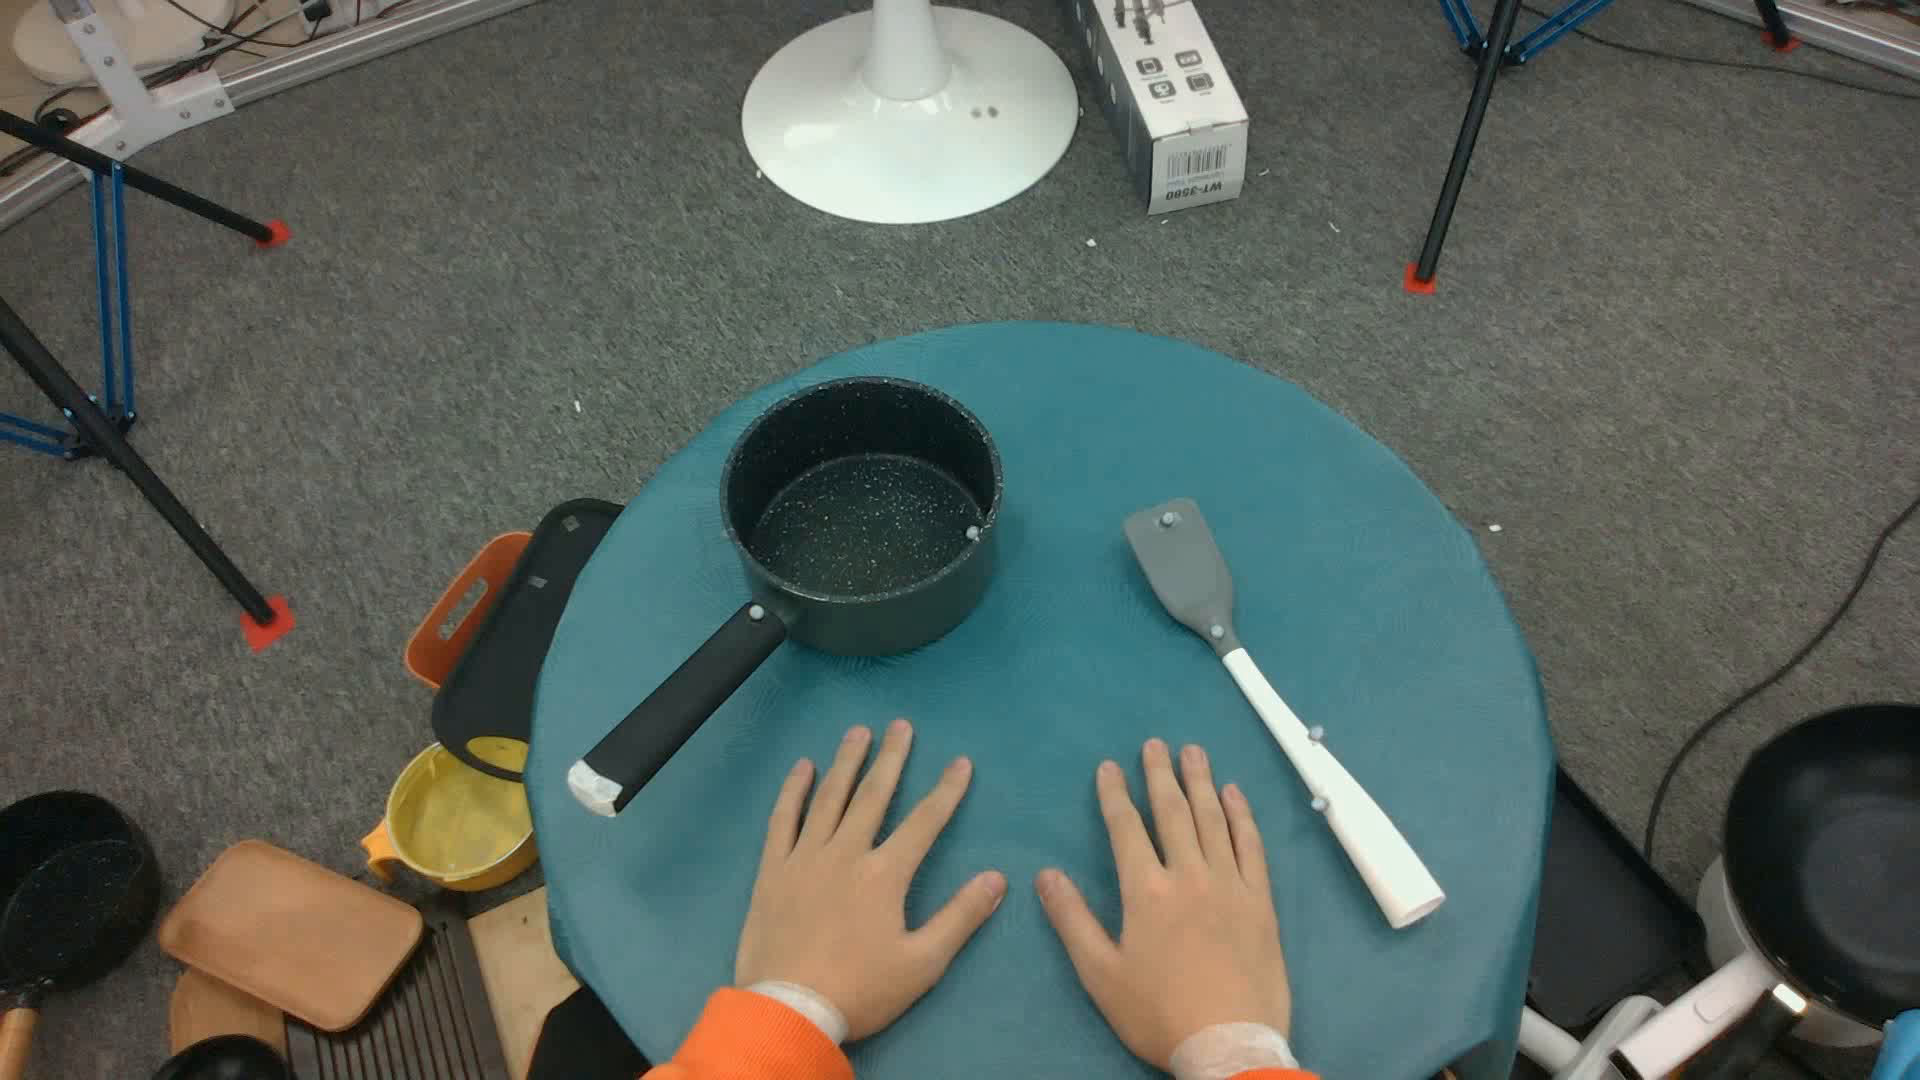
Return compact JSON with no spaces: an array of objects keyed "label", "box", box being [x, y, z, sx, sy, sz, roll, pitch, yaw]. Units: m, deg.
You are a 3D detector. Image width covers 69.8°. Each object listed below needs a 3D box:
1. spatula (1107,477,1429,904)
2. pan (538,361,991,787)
[{"label":"spatula","box":[0.174,0.079,0.805,0.059,0.032,0.288,-24,58,-9]},{"label":"pan","box":[-0.112,0.030,0.813,0.172,0.086,0.330,29,58,20]}]
